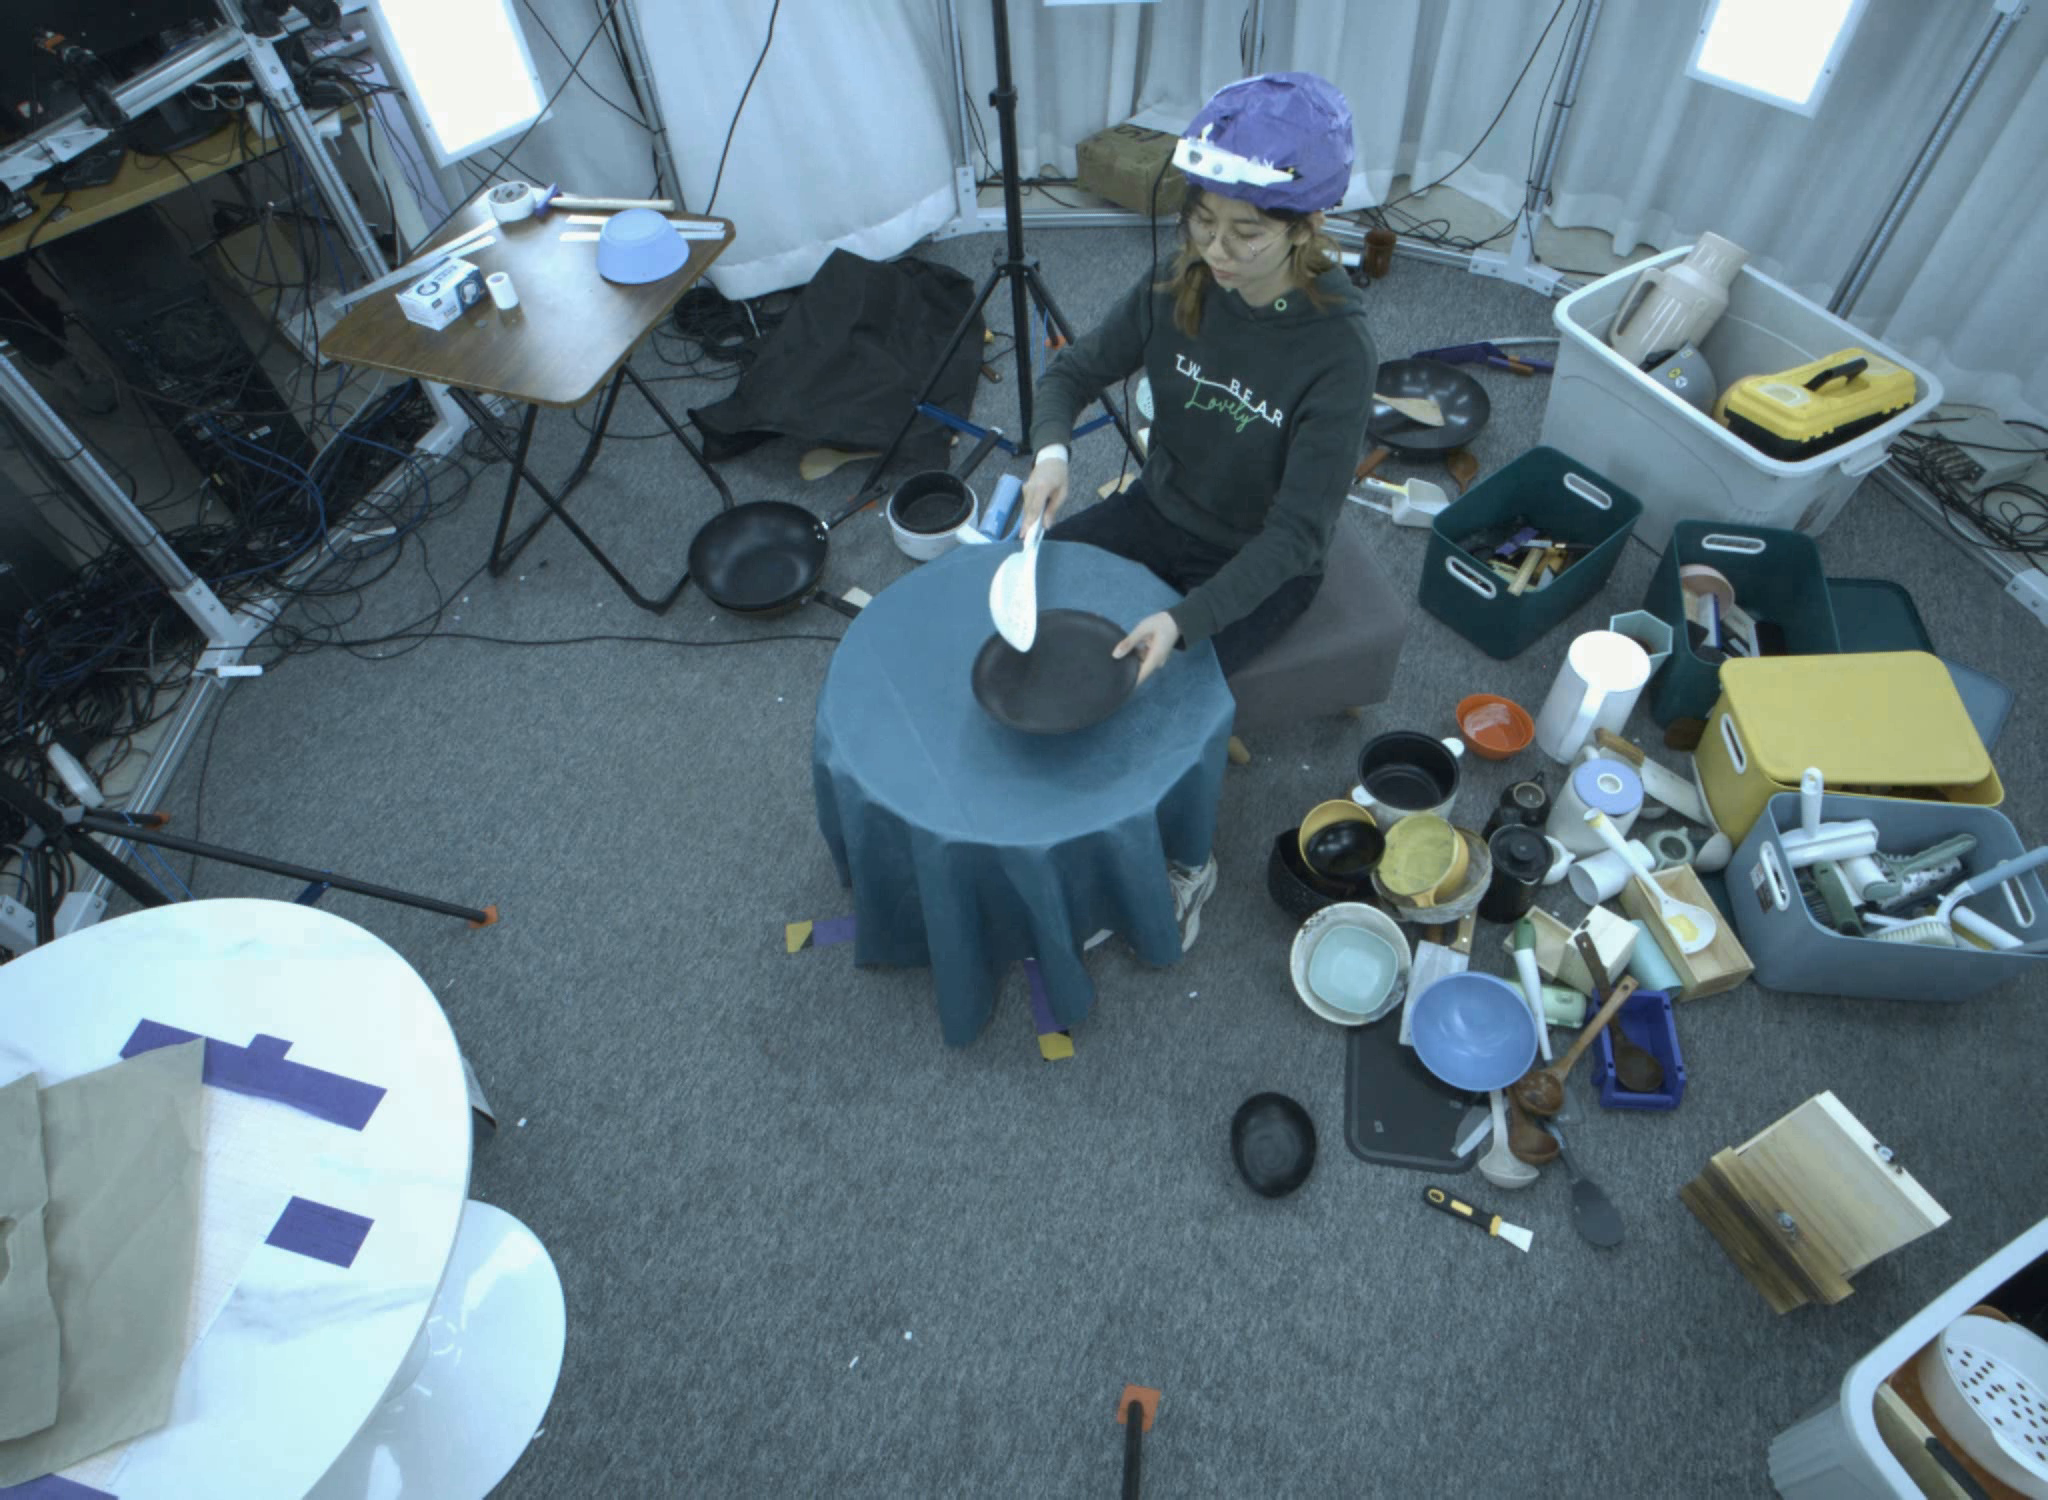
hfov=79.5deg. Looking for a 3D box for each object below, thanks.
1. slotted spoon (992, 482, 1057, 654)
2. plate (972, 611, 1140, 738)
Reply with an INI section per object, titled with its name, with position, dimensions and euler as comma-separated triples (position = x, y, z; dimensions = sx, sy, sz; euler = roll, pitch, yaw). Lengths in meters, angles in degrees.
[slotted spoon]
position = 0.009, -0.282, 1.801
dimensions = 0.045, 0.138, 0.348
euler = 1, 49, 22
[plate]
position = 0.047, -0.106, 1.775
dimensions = 0.243, 0.024, 0.242
euler = -3, 52, 5
